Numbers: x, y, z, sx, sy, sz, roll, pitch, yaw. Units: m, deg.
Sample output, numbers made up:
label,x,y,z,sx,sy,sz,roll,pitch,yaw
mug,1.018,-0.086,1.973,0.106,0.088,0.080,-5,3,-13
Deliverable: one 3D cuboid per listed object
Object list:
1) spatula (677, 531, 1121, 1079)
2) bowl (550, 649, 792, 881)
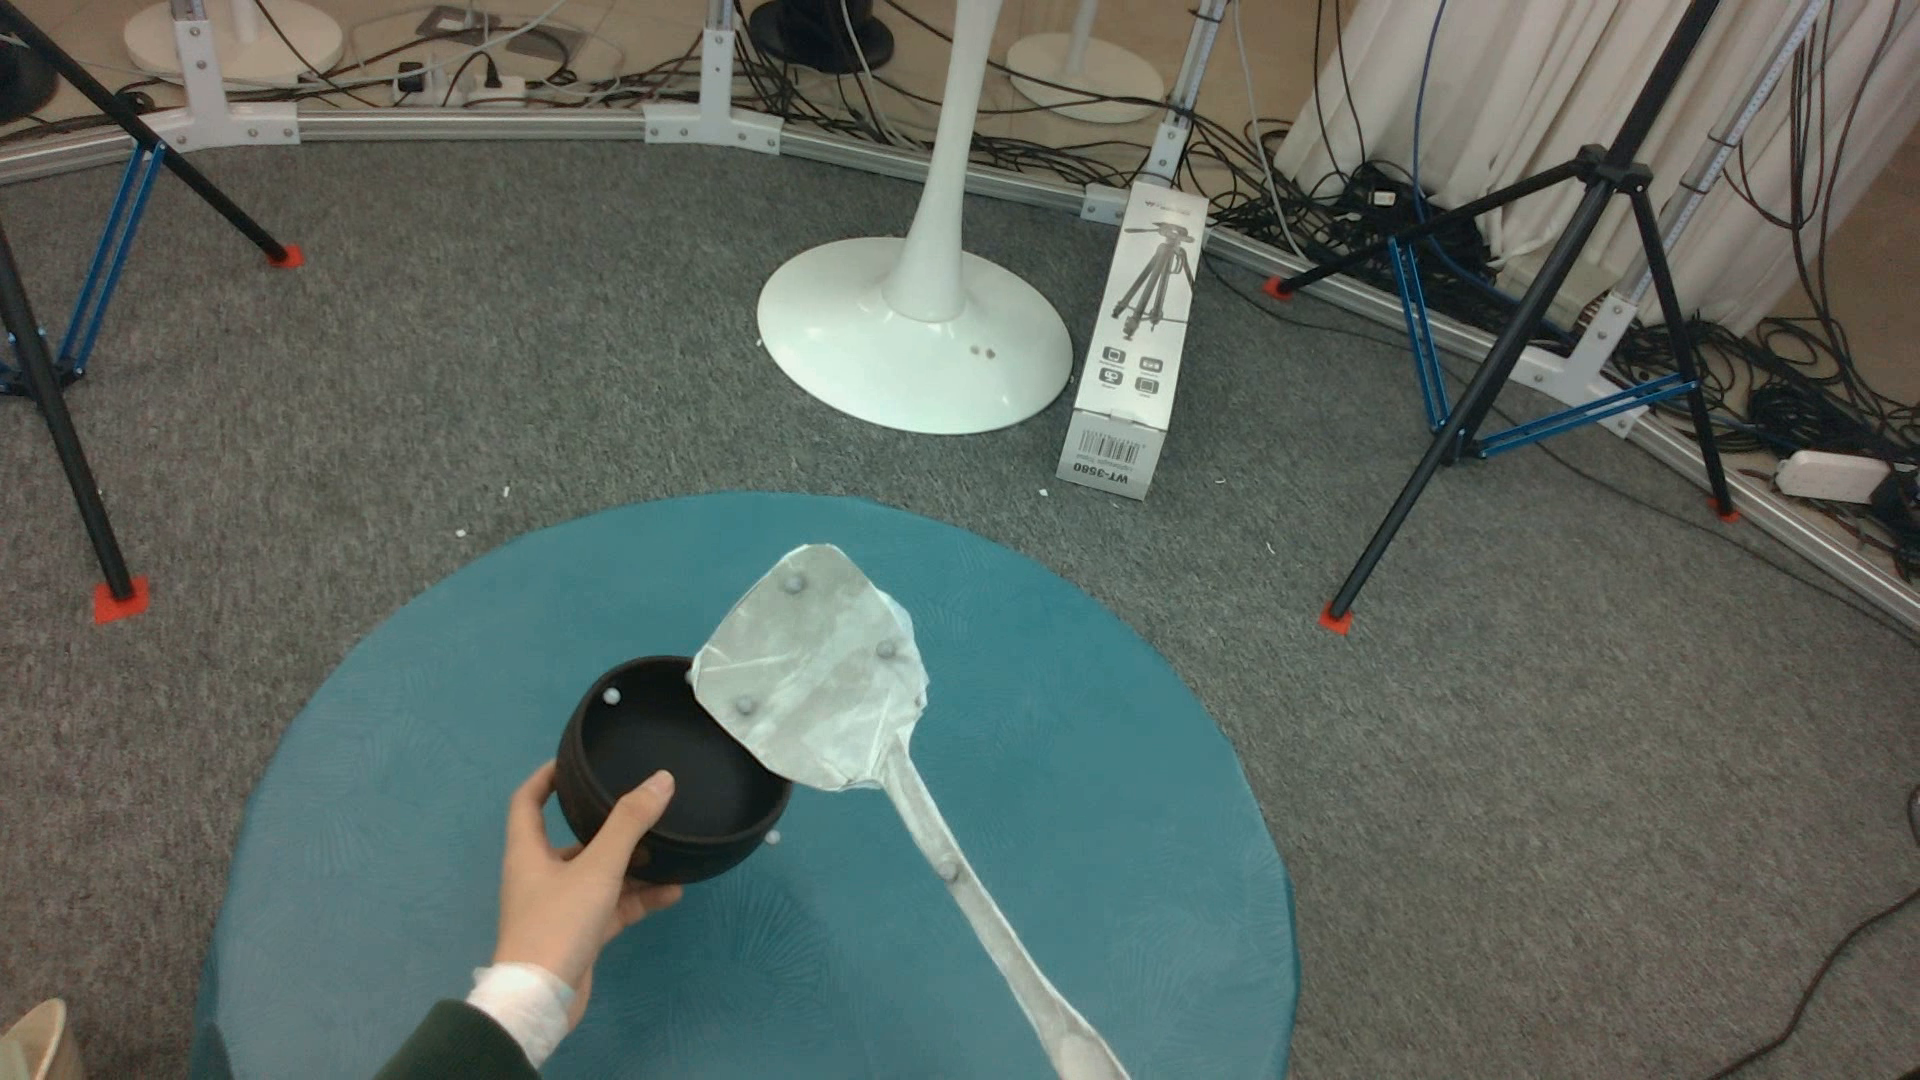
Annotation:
label,x,y,z,sx,sy,sz,roll,pitch,yaw
spatula,0.003,0.146,0.550,0.365,0.098,0.045,51,10,31
bowl,-0.151,0.122,0.703,0.118,0.069,0.118,19,39,-16
